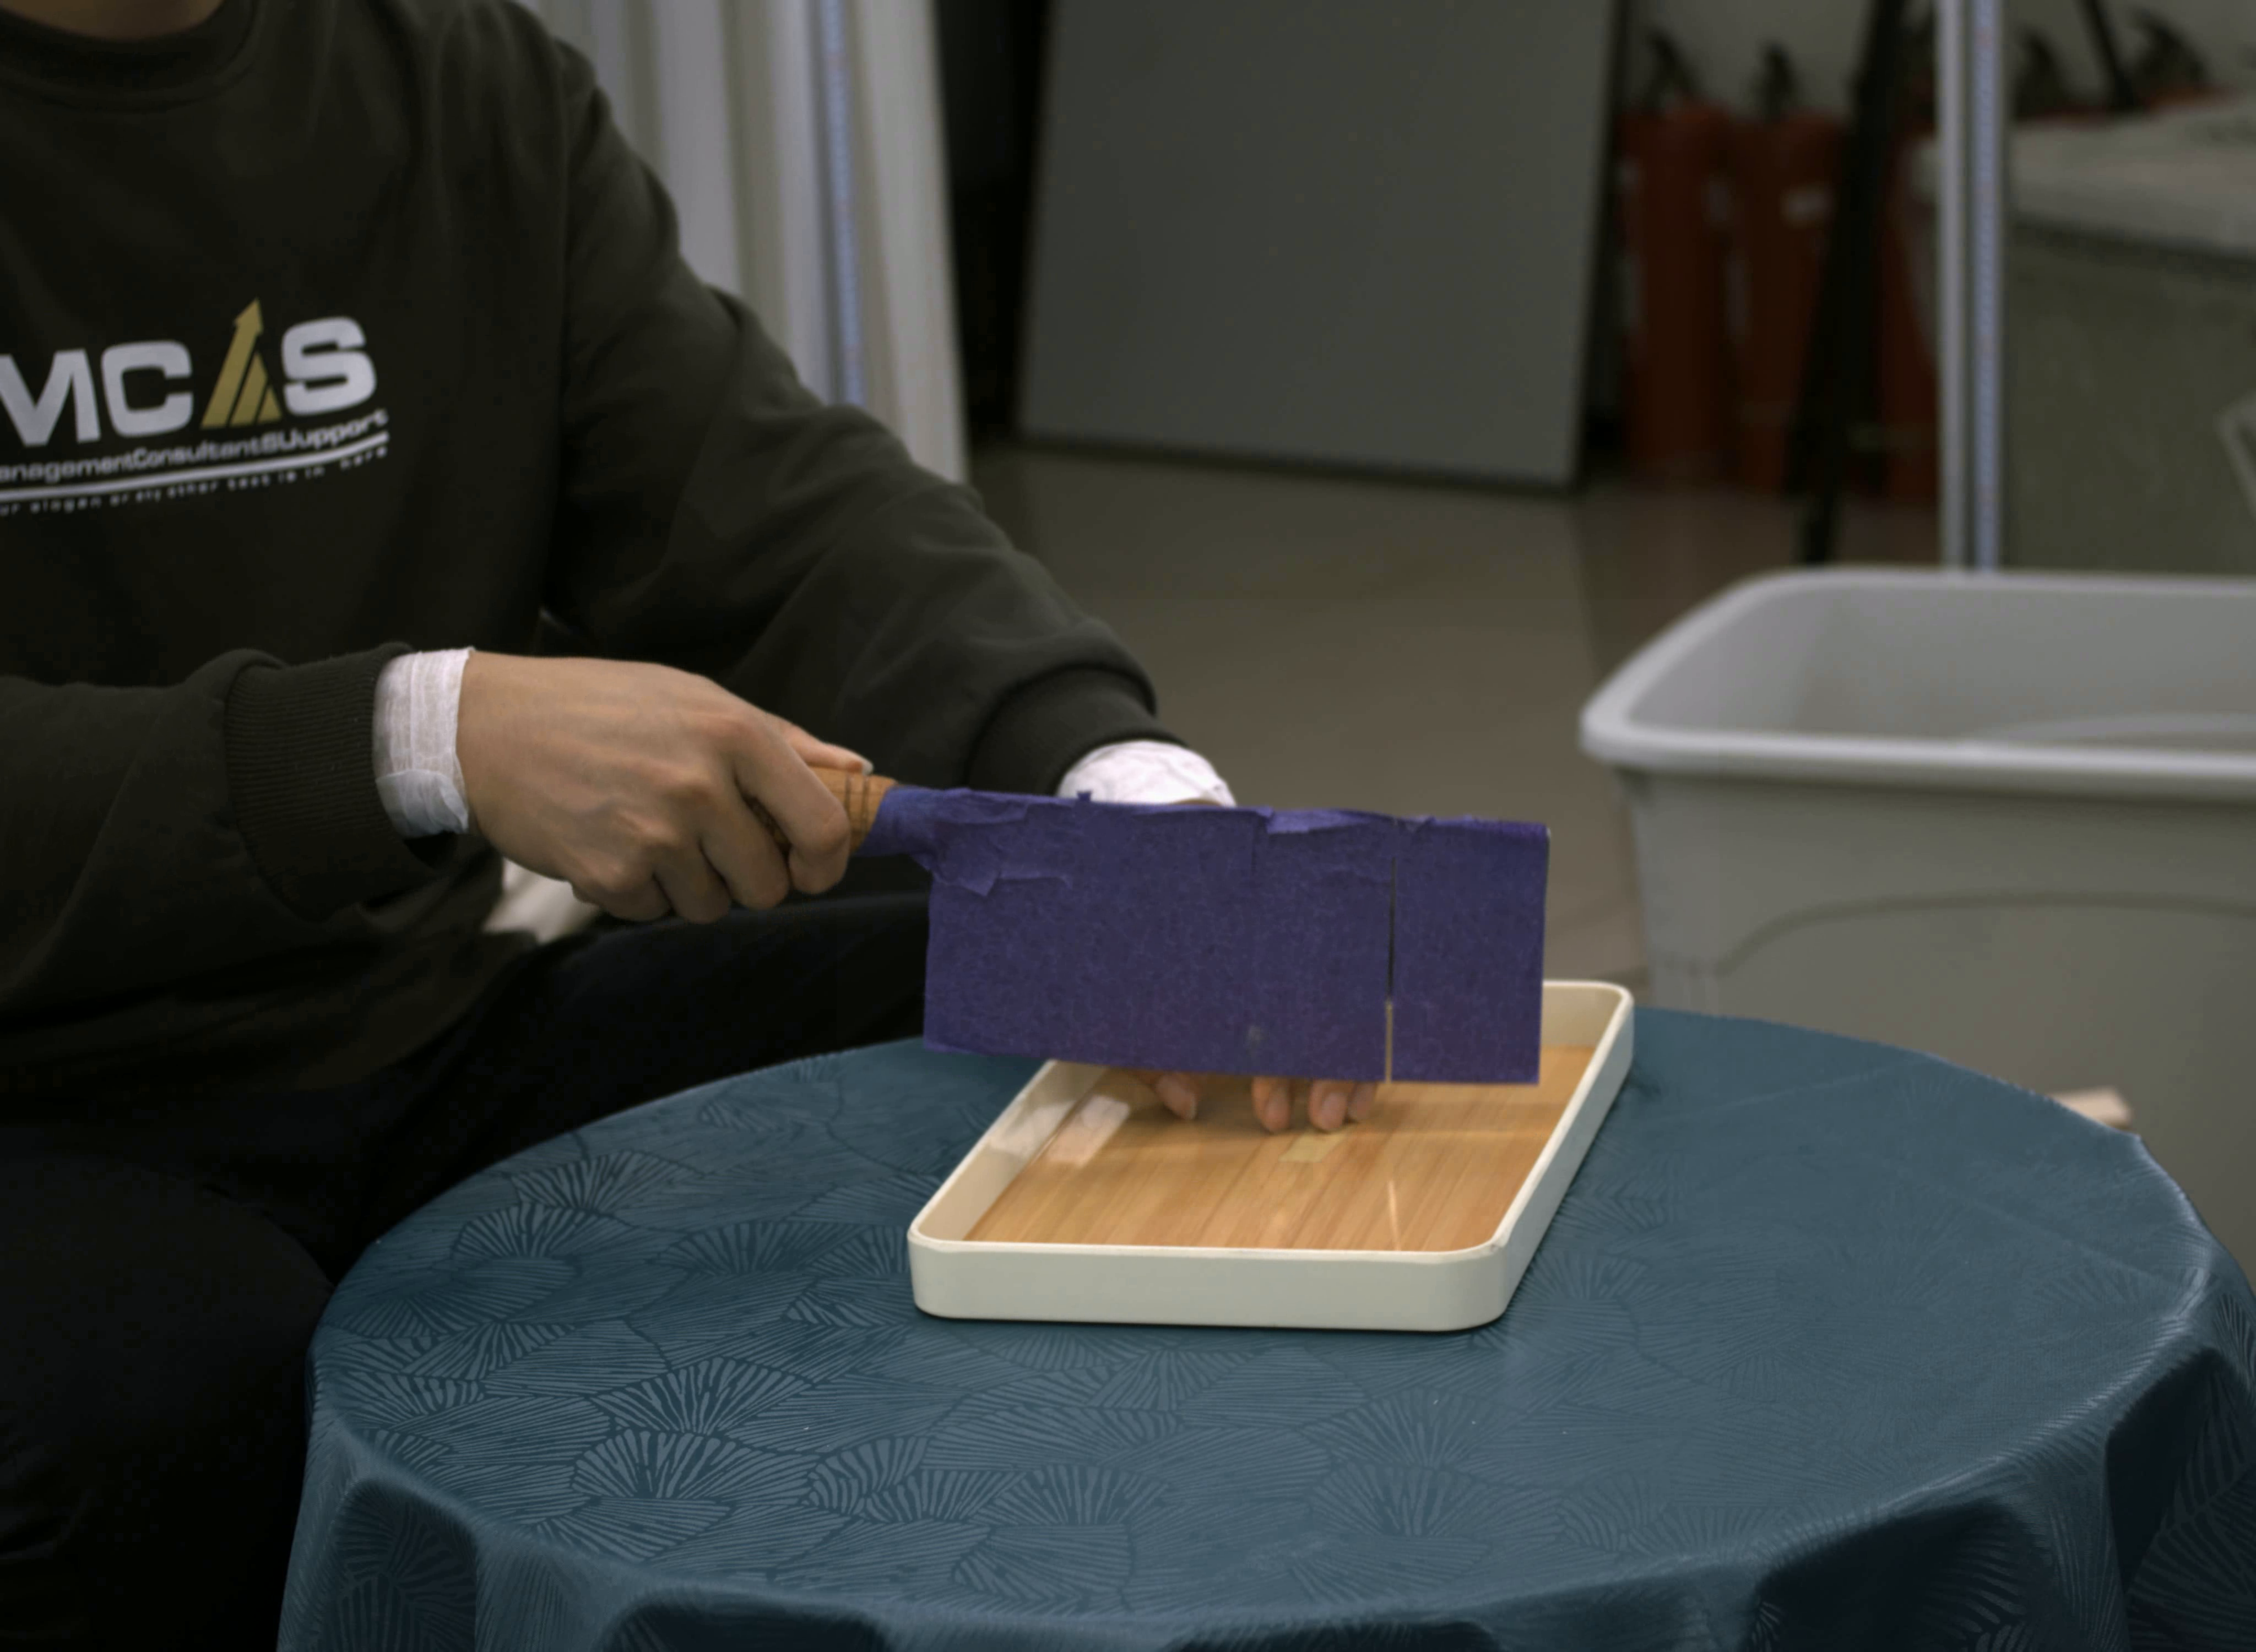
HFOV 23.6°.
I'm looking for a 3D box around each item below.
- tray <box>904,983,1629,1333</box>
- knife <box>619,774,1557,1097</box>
[{"bbox_3d":[0.053,0.104,1.771,0.191,0.028,0.298,0,14,15],"label":"tray"},{"bbox_3d":[-0.014,0.035,1.784,0.312,0.105,0.032,3,7,5],"label":"knife"}]
